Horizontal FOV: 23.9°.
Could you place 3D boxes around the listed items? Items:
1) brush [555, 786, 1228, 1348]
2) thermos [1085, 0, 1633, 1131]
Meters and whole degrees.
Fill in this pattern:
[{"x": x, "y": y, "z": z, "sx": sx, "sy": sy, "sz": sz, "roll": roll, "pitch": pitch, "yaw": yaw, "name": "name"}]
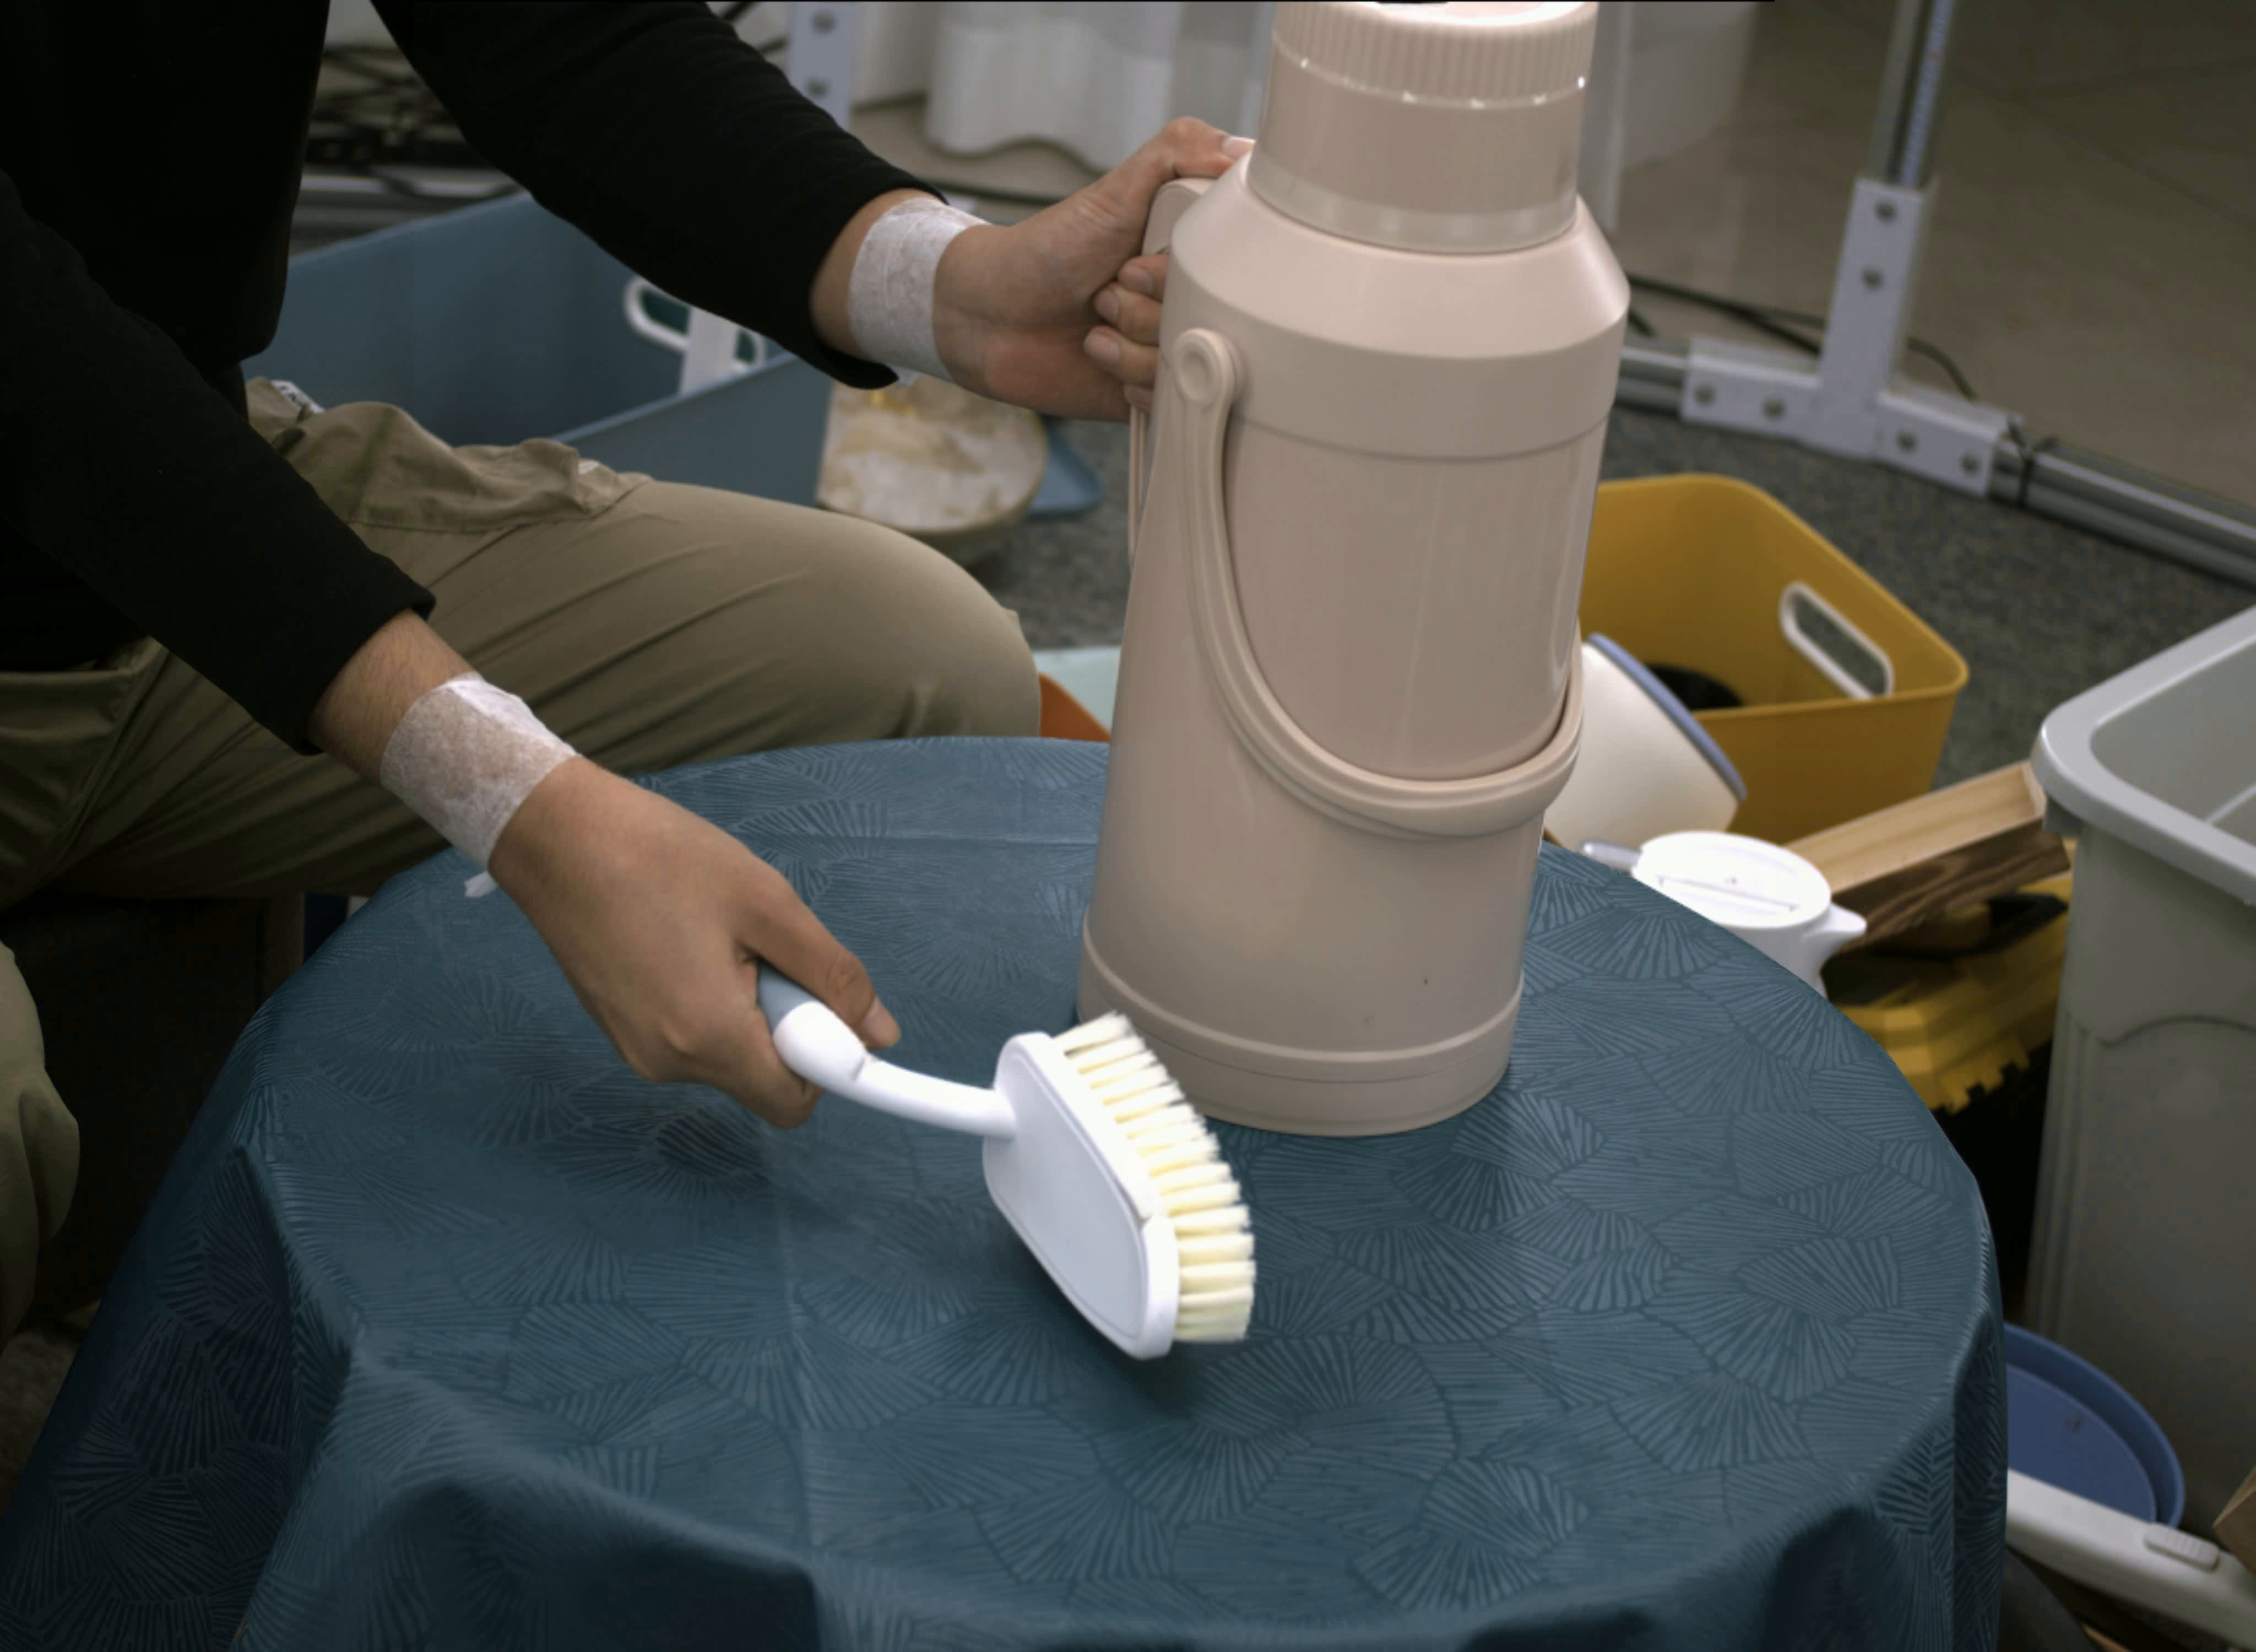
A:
[{"x": -0.068, "y": 0.065, "z": 1.770, "sx": 0.328, "sy": 0.083, "sz": 0.084, "roll": 39, "pitch": 4, "yaw": 37, "name": "brush"}, {"x": 0.074, "y": -0.110, "z": 1.841, "sx": 0.174, "sy": 0.405, "sz": 0.209, "roll": -17, "pitch": 35, "yaw": -36, "name": "thermos"}]
